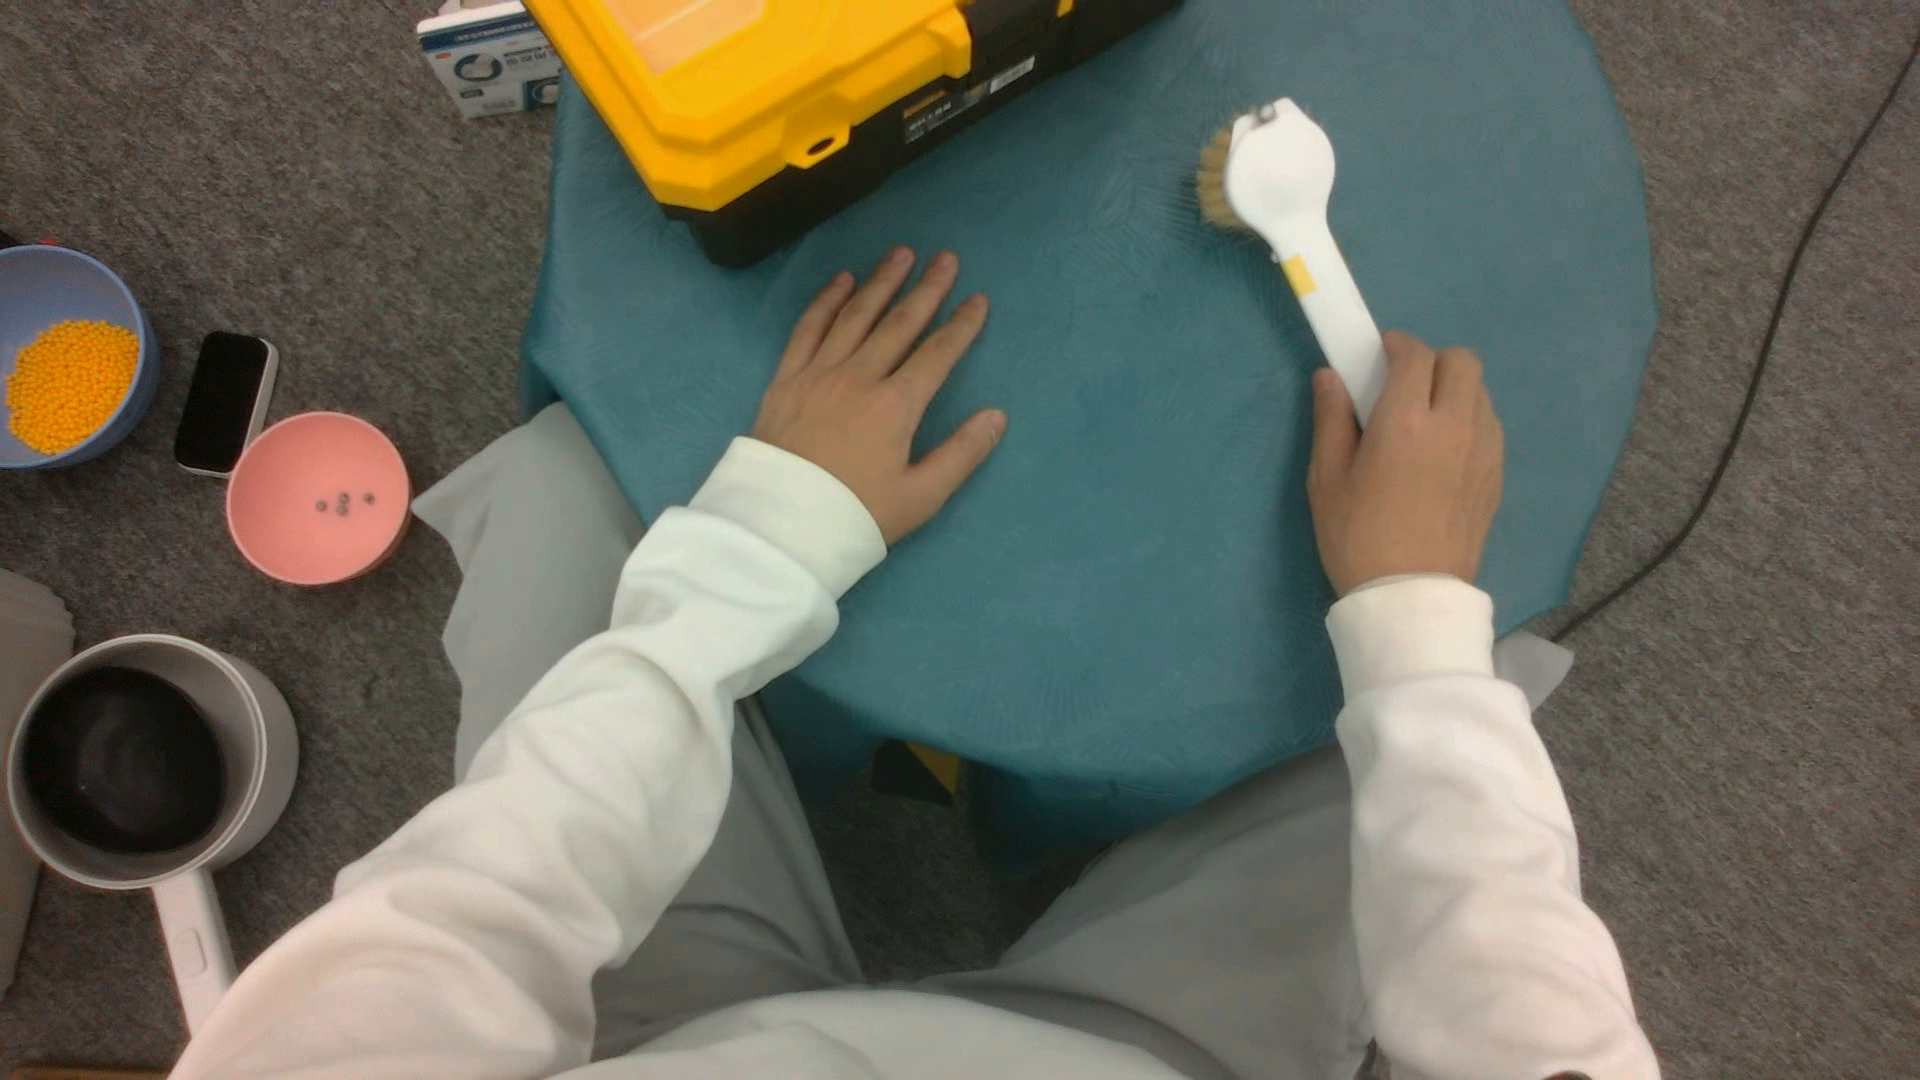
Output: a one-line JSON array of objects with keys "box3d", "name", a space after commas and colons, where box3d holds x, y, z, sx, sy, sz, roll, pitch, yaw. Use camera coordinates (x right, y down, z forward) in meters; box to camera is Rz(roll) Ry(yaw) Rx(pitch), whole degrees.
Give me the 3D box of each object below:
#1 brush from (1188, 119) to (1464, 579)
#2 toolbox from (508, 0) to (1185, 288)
[{"box3d": [0.202, -0.102, 0.746, 0.068, 0.056, 0.266, -26, 96, 11], "name": "brush"}, {"box3d": [-0.028, -0.284, 0.694, 0.352, 0.172, 0.181, -35, 81, -8], "name": "toolbox"}]
